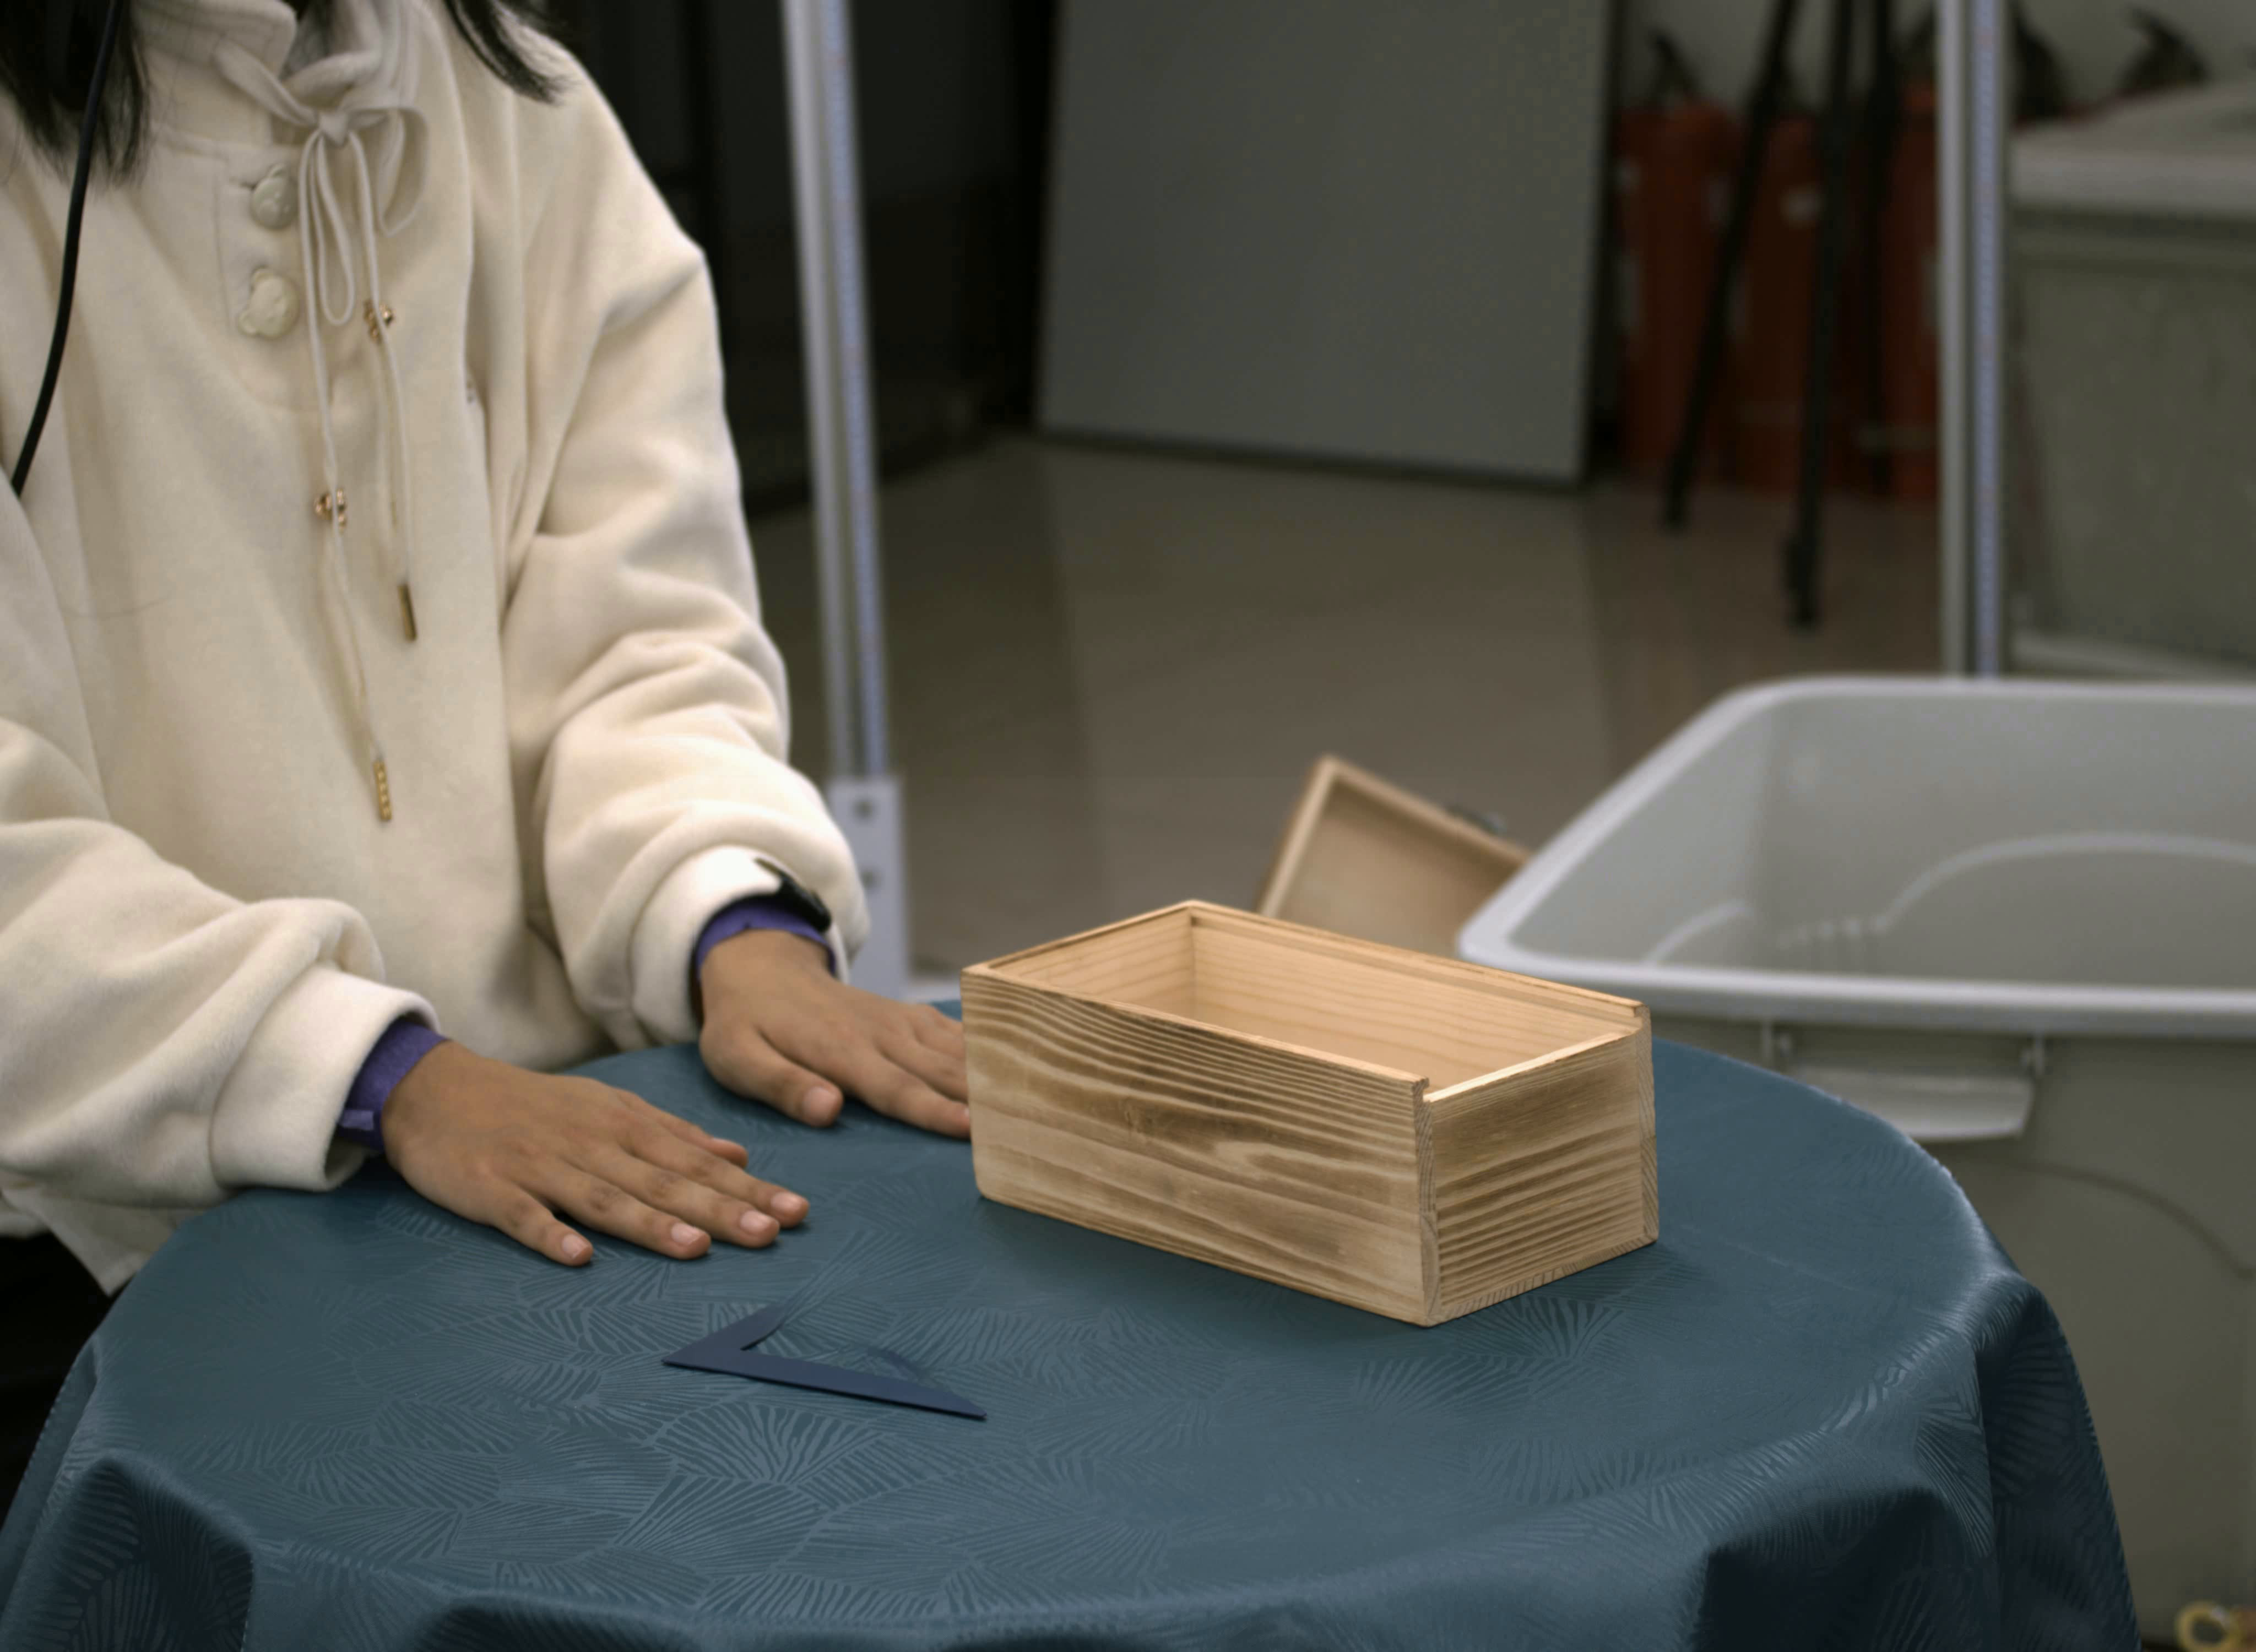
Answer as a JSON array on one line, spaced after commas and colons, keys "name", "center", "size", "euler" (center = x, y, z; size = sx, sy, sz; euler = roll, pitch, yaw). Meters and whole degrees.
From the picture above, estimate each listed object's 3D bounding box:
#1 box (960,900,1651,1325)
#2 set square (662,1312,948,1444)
[{"name": "box", "center": [0.055, 0.088, 1.721], "size": [0.105, 0.081, 0.213], "euler": [-14, 17, -40]}, {"name": "set square", "center": [-0.099, 0.166, 1.607], "size": [0.060, 0.006, 0.133], "euler": [-8, 14, -20]}]
